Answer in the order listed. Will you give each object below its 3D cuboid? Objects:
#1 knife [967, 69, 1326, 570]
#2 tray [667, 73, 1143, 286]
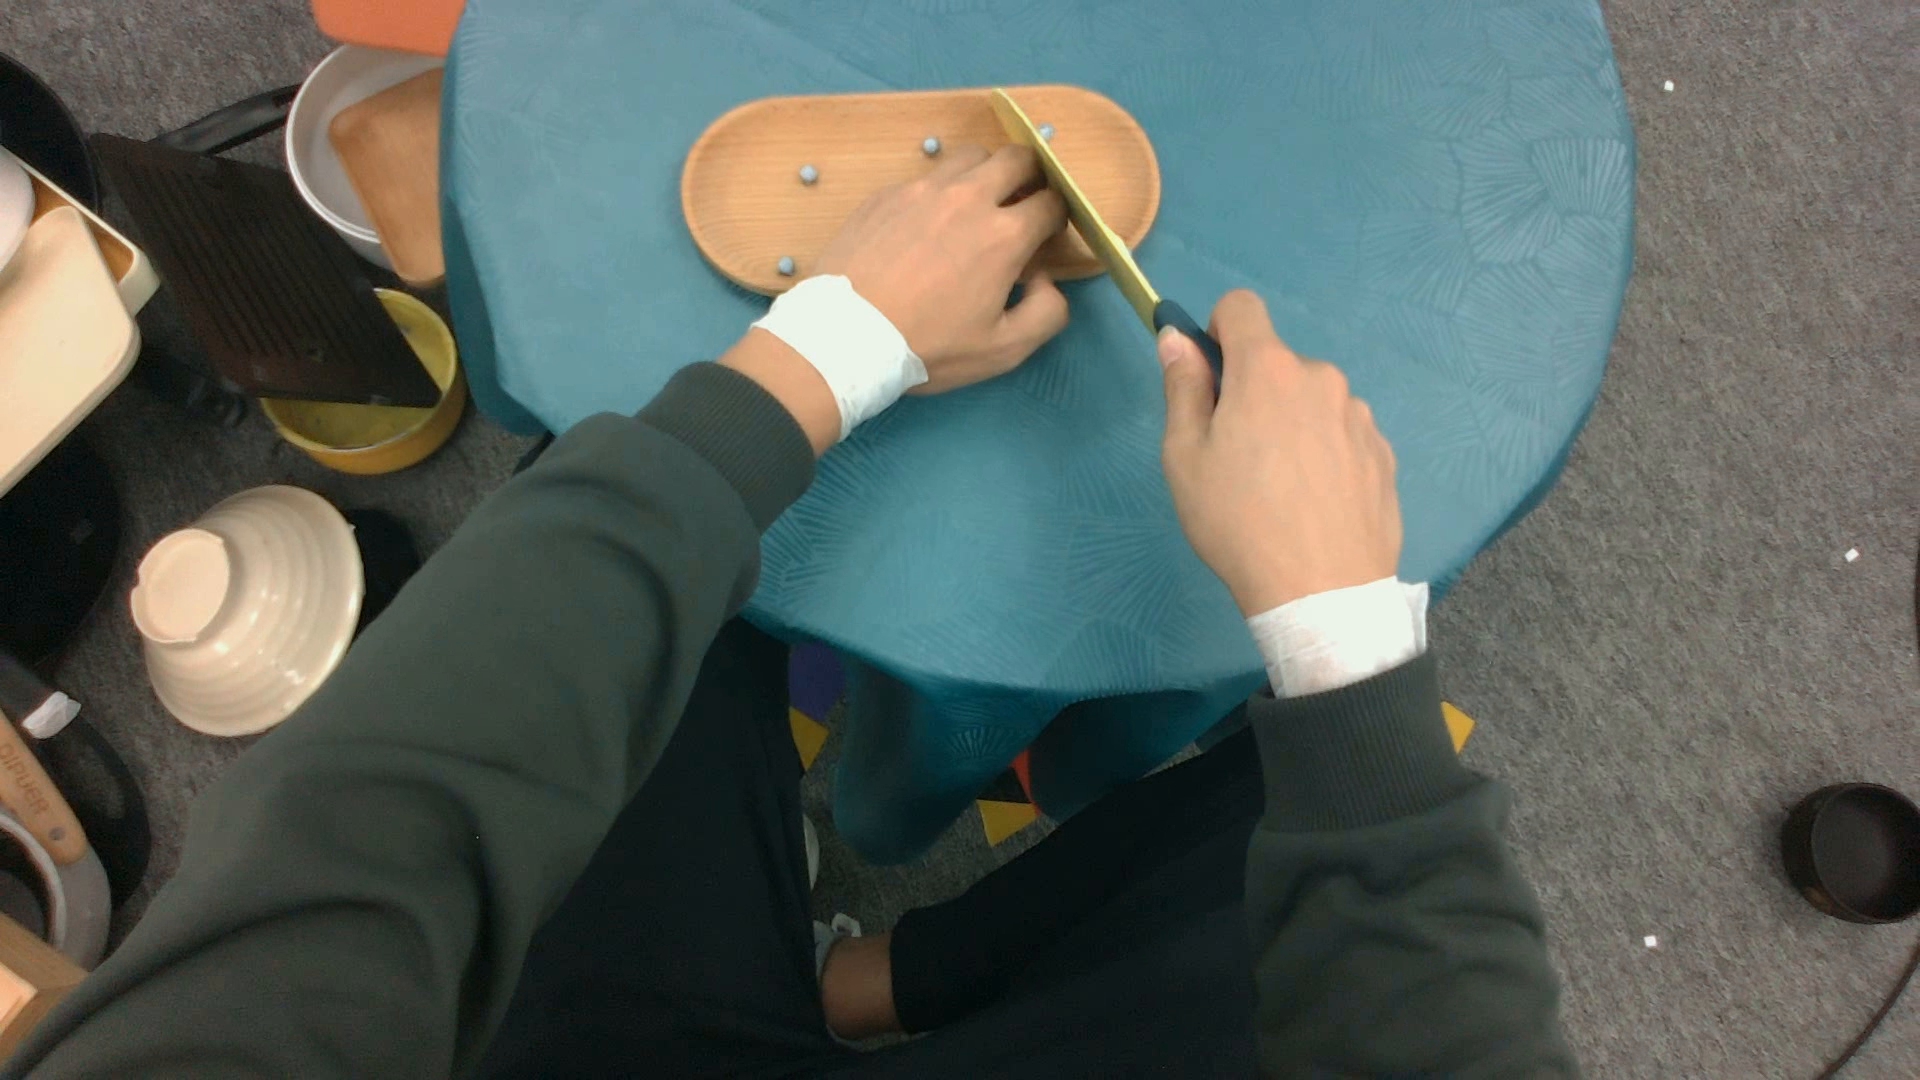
[{"bbox_3d":[0.074,-0.106,0.612,0.027,0.081,0.290,-33,70,6],"label":"knife"},{"bbox_3d":[-0.025,-0.176,0.670,0.231,0.020,0.102,-6,78,-10],"label":"tray"}]
